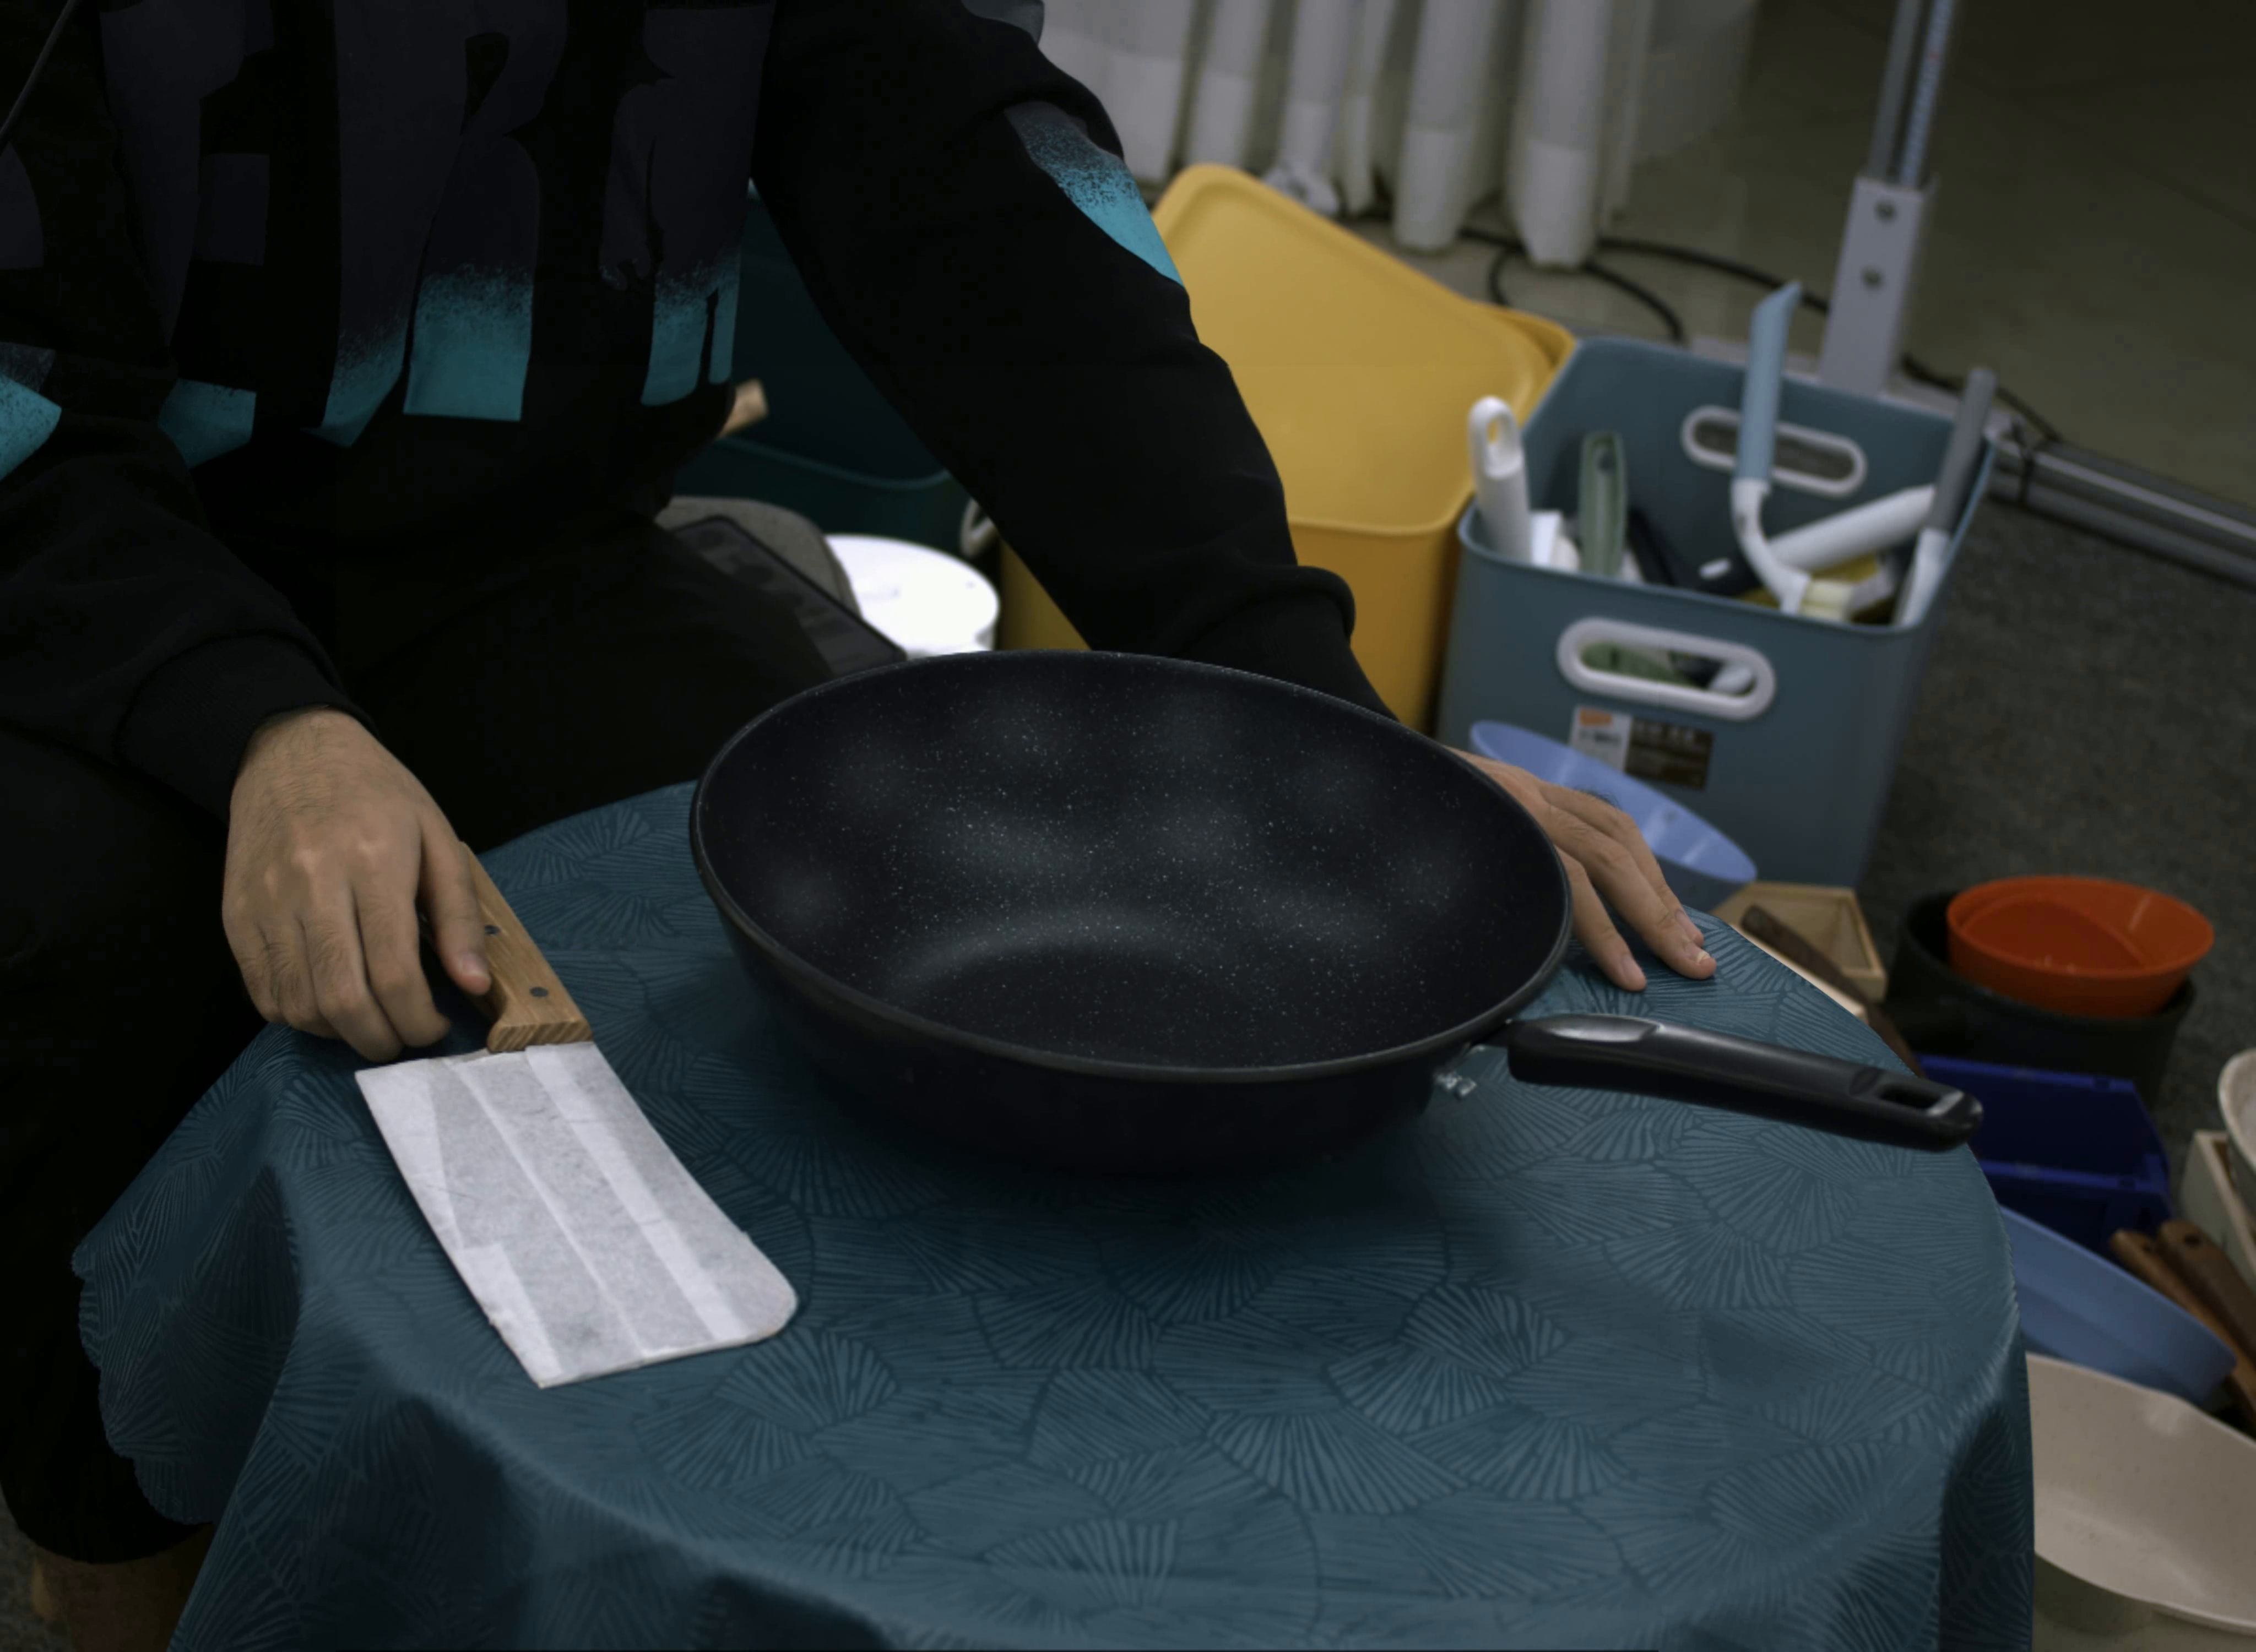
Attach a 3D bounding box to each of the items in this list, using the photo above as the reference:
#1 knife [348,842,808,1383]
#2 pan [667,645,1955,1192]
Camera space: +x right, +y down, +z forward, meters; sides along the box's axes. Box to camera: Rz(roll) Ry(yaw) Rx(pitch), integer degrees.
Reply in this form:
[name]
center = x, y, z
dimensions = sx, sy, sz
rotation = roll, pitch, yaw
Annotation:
[knife]
center = -0.202, 0.093, 1.799
dimensions = 0.113, 0.021, 0.318
rotation = -6, 32, -22
[pan]
center = 0.060, 0.062, 1.822
dimensions = 0.479, 0.111, 0.309
rotation = 22, 32, 28
